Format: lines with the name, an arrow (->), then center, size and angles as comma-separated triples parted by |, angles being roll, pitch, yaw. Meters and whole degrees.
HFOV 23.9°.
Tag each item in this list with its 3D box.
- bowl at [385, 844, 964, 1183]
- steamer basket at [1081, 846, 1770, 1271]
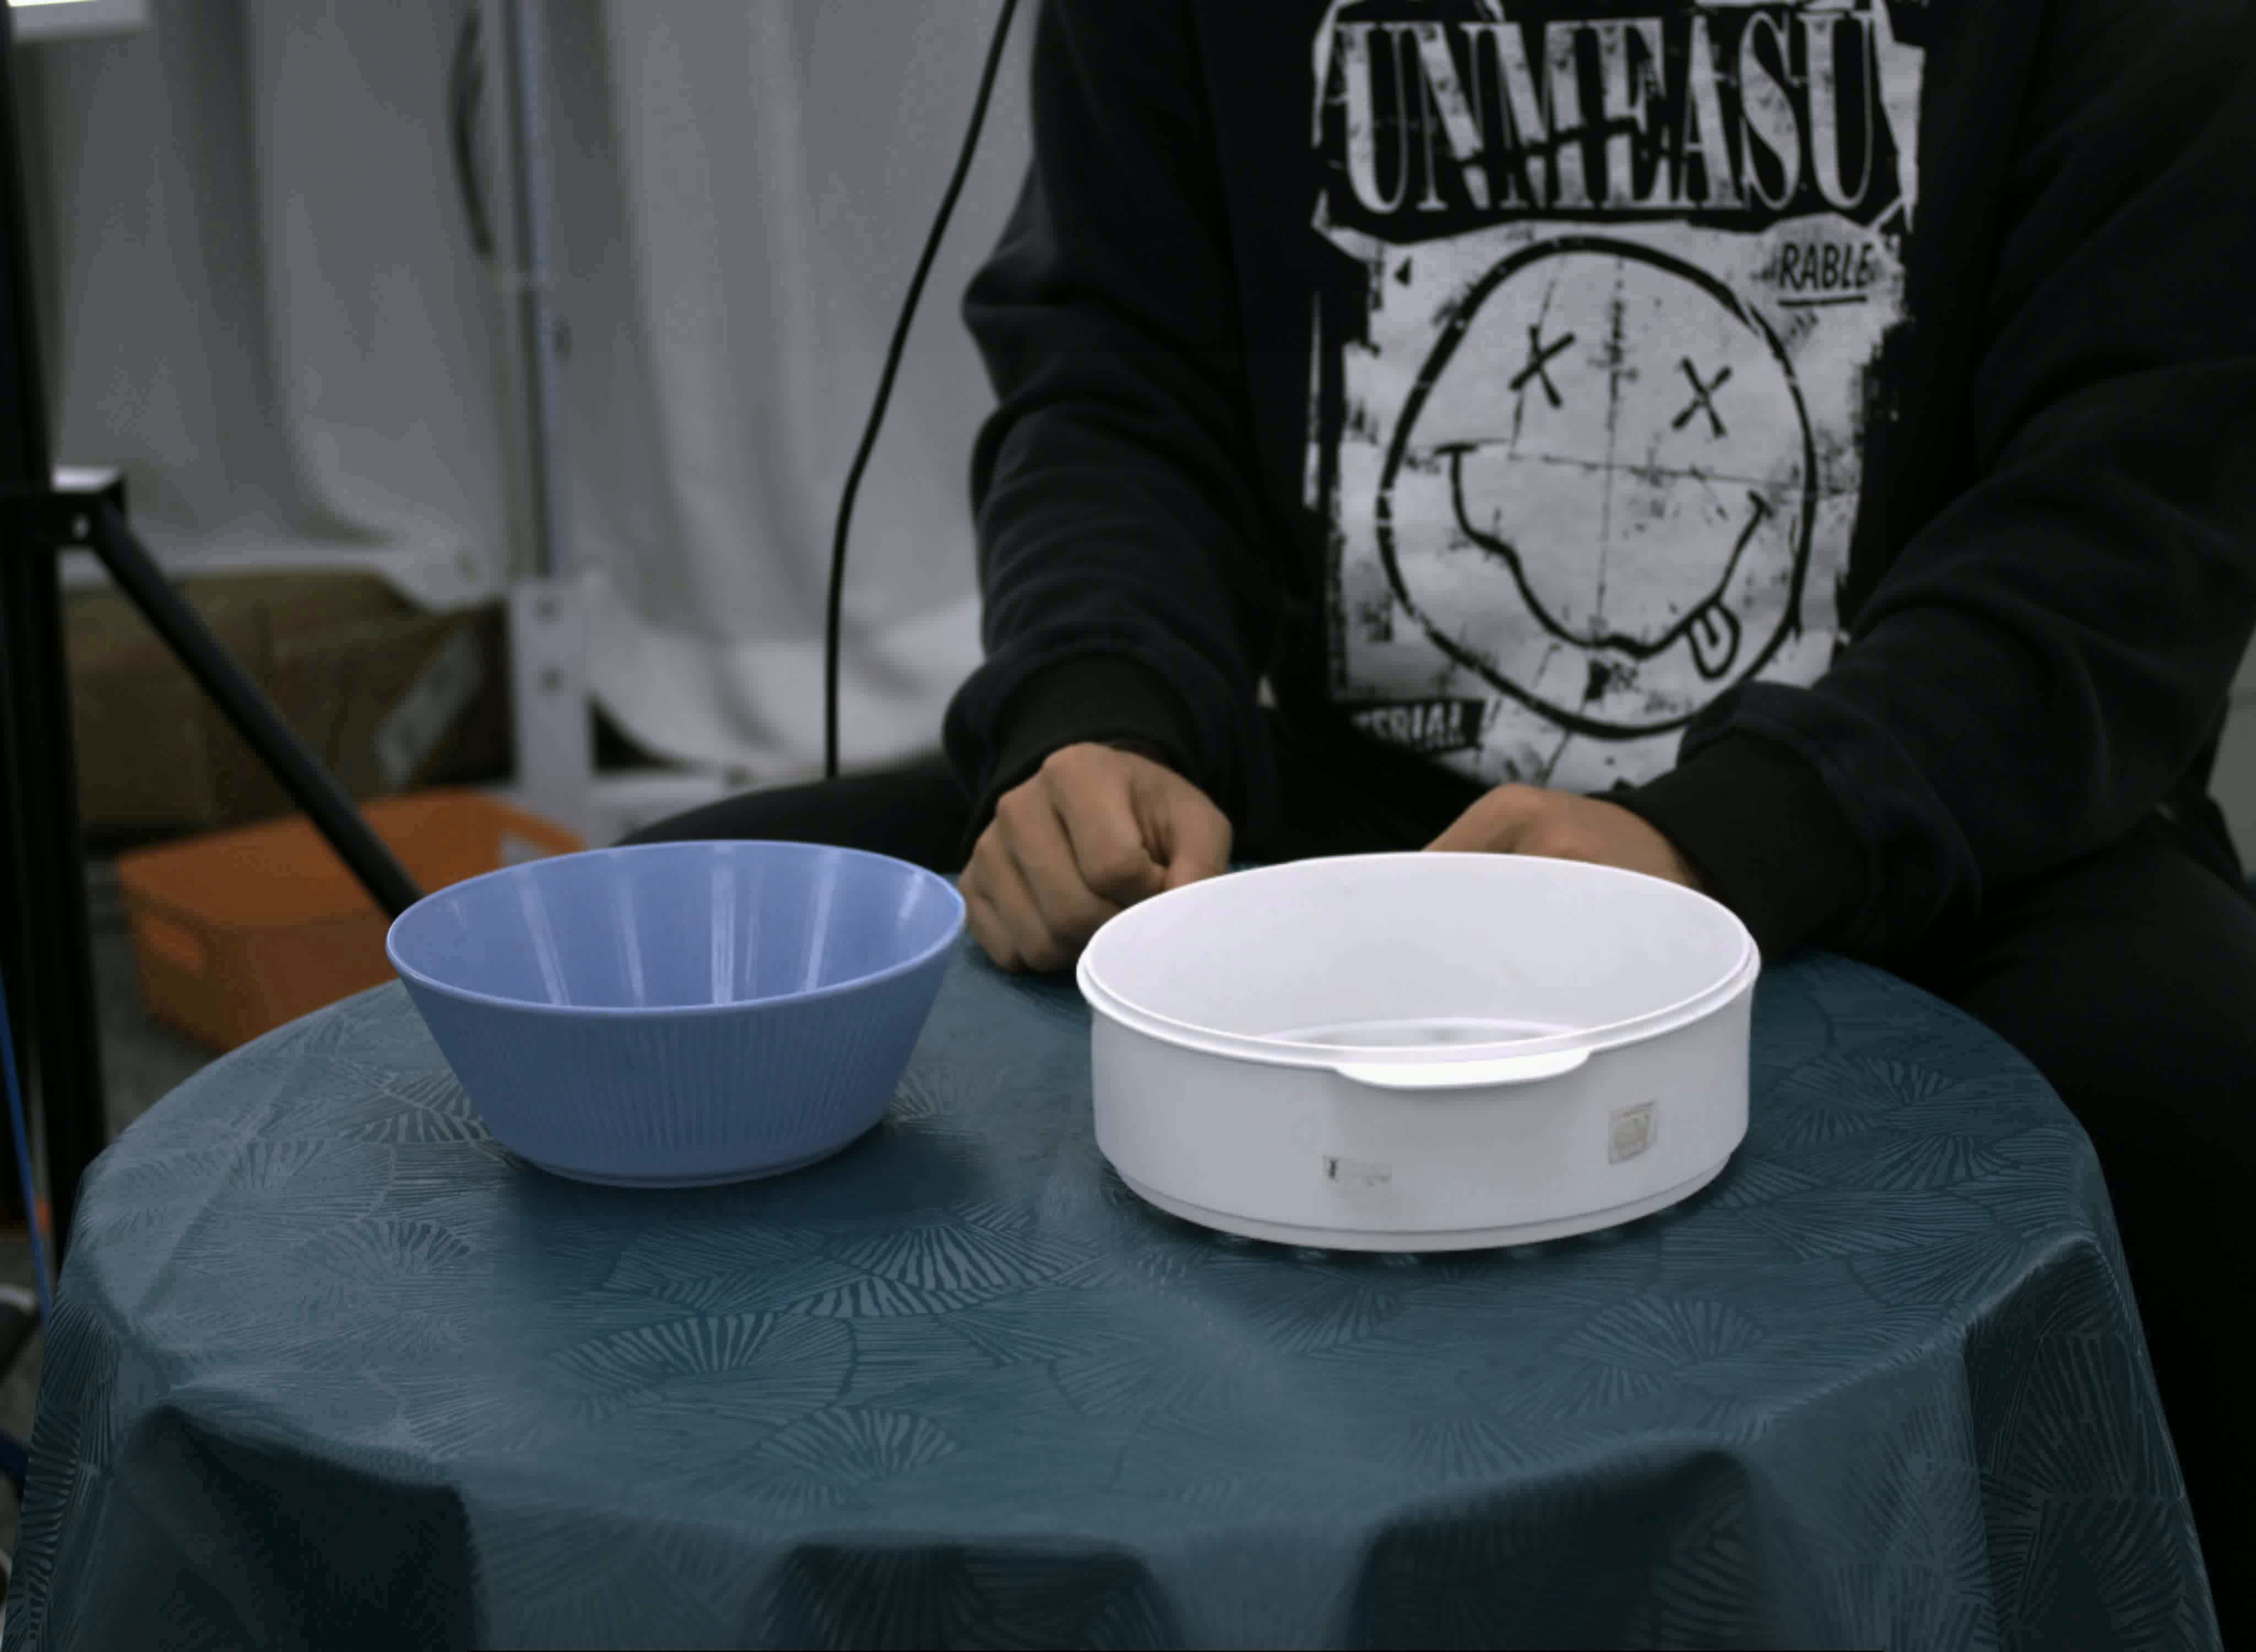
bowl -> -0.137, 0.059, 1.624 | 0.175, 0.070, 0.177 | -2, 16, -1
steamer basket -> 0.087, 0.068, 1.559 | 0.200, 0.069, 0.232 | -4, 18, -3
